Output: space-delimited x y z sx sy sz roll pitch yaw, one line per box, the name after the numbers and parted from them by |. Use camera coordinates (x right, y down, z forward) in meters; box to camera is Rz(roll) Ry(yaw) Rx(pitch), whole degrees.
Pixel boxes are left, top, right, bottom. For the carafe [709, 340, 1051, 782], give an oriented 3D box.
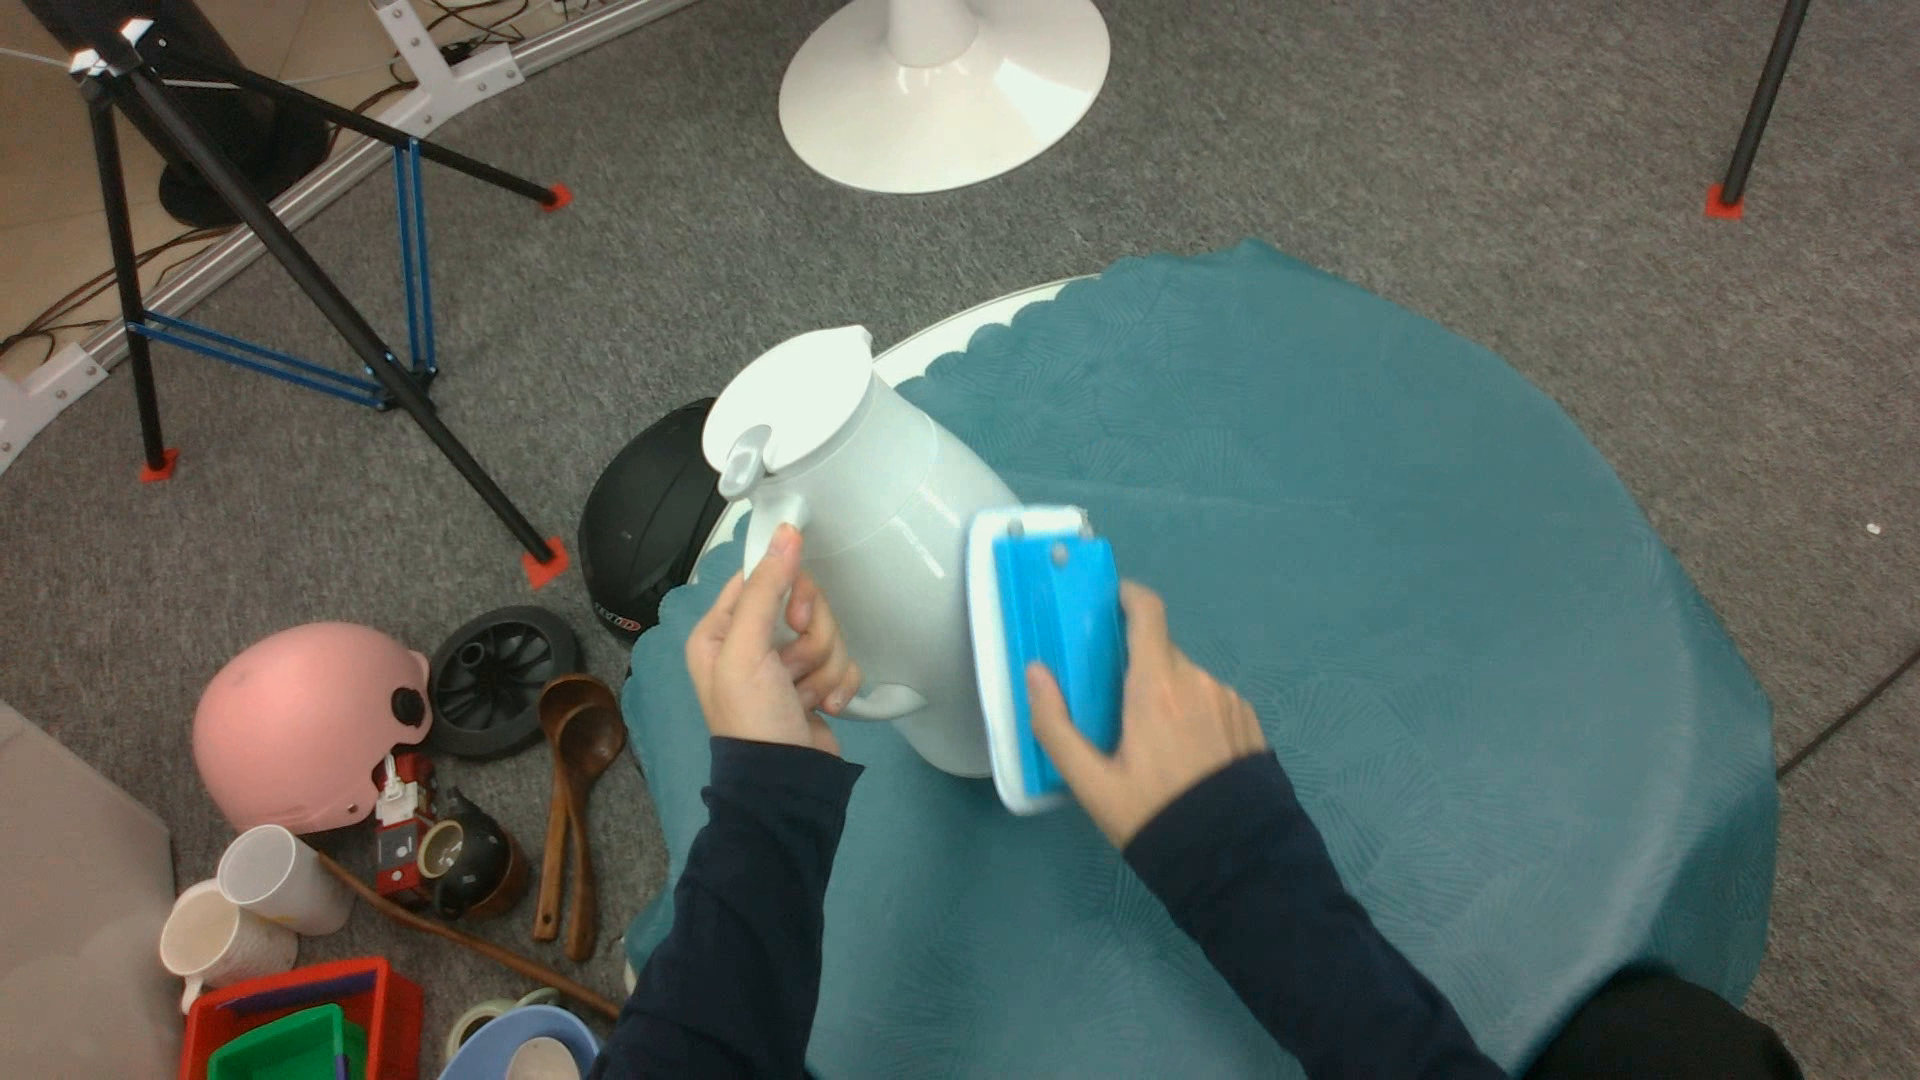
-0.030 0.025 0.715 0.132 0.248 0.168 -7 50 31 | carafe

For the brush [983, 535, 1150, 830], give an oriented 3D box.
0.060 0.067 0.674 0.084 0.056 0.144 -4 83 -34 | brush
